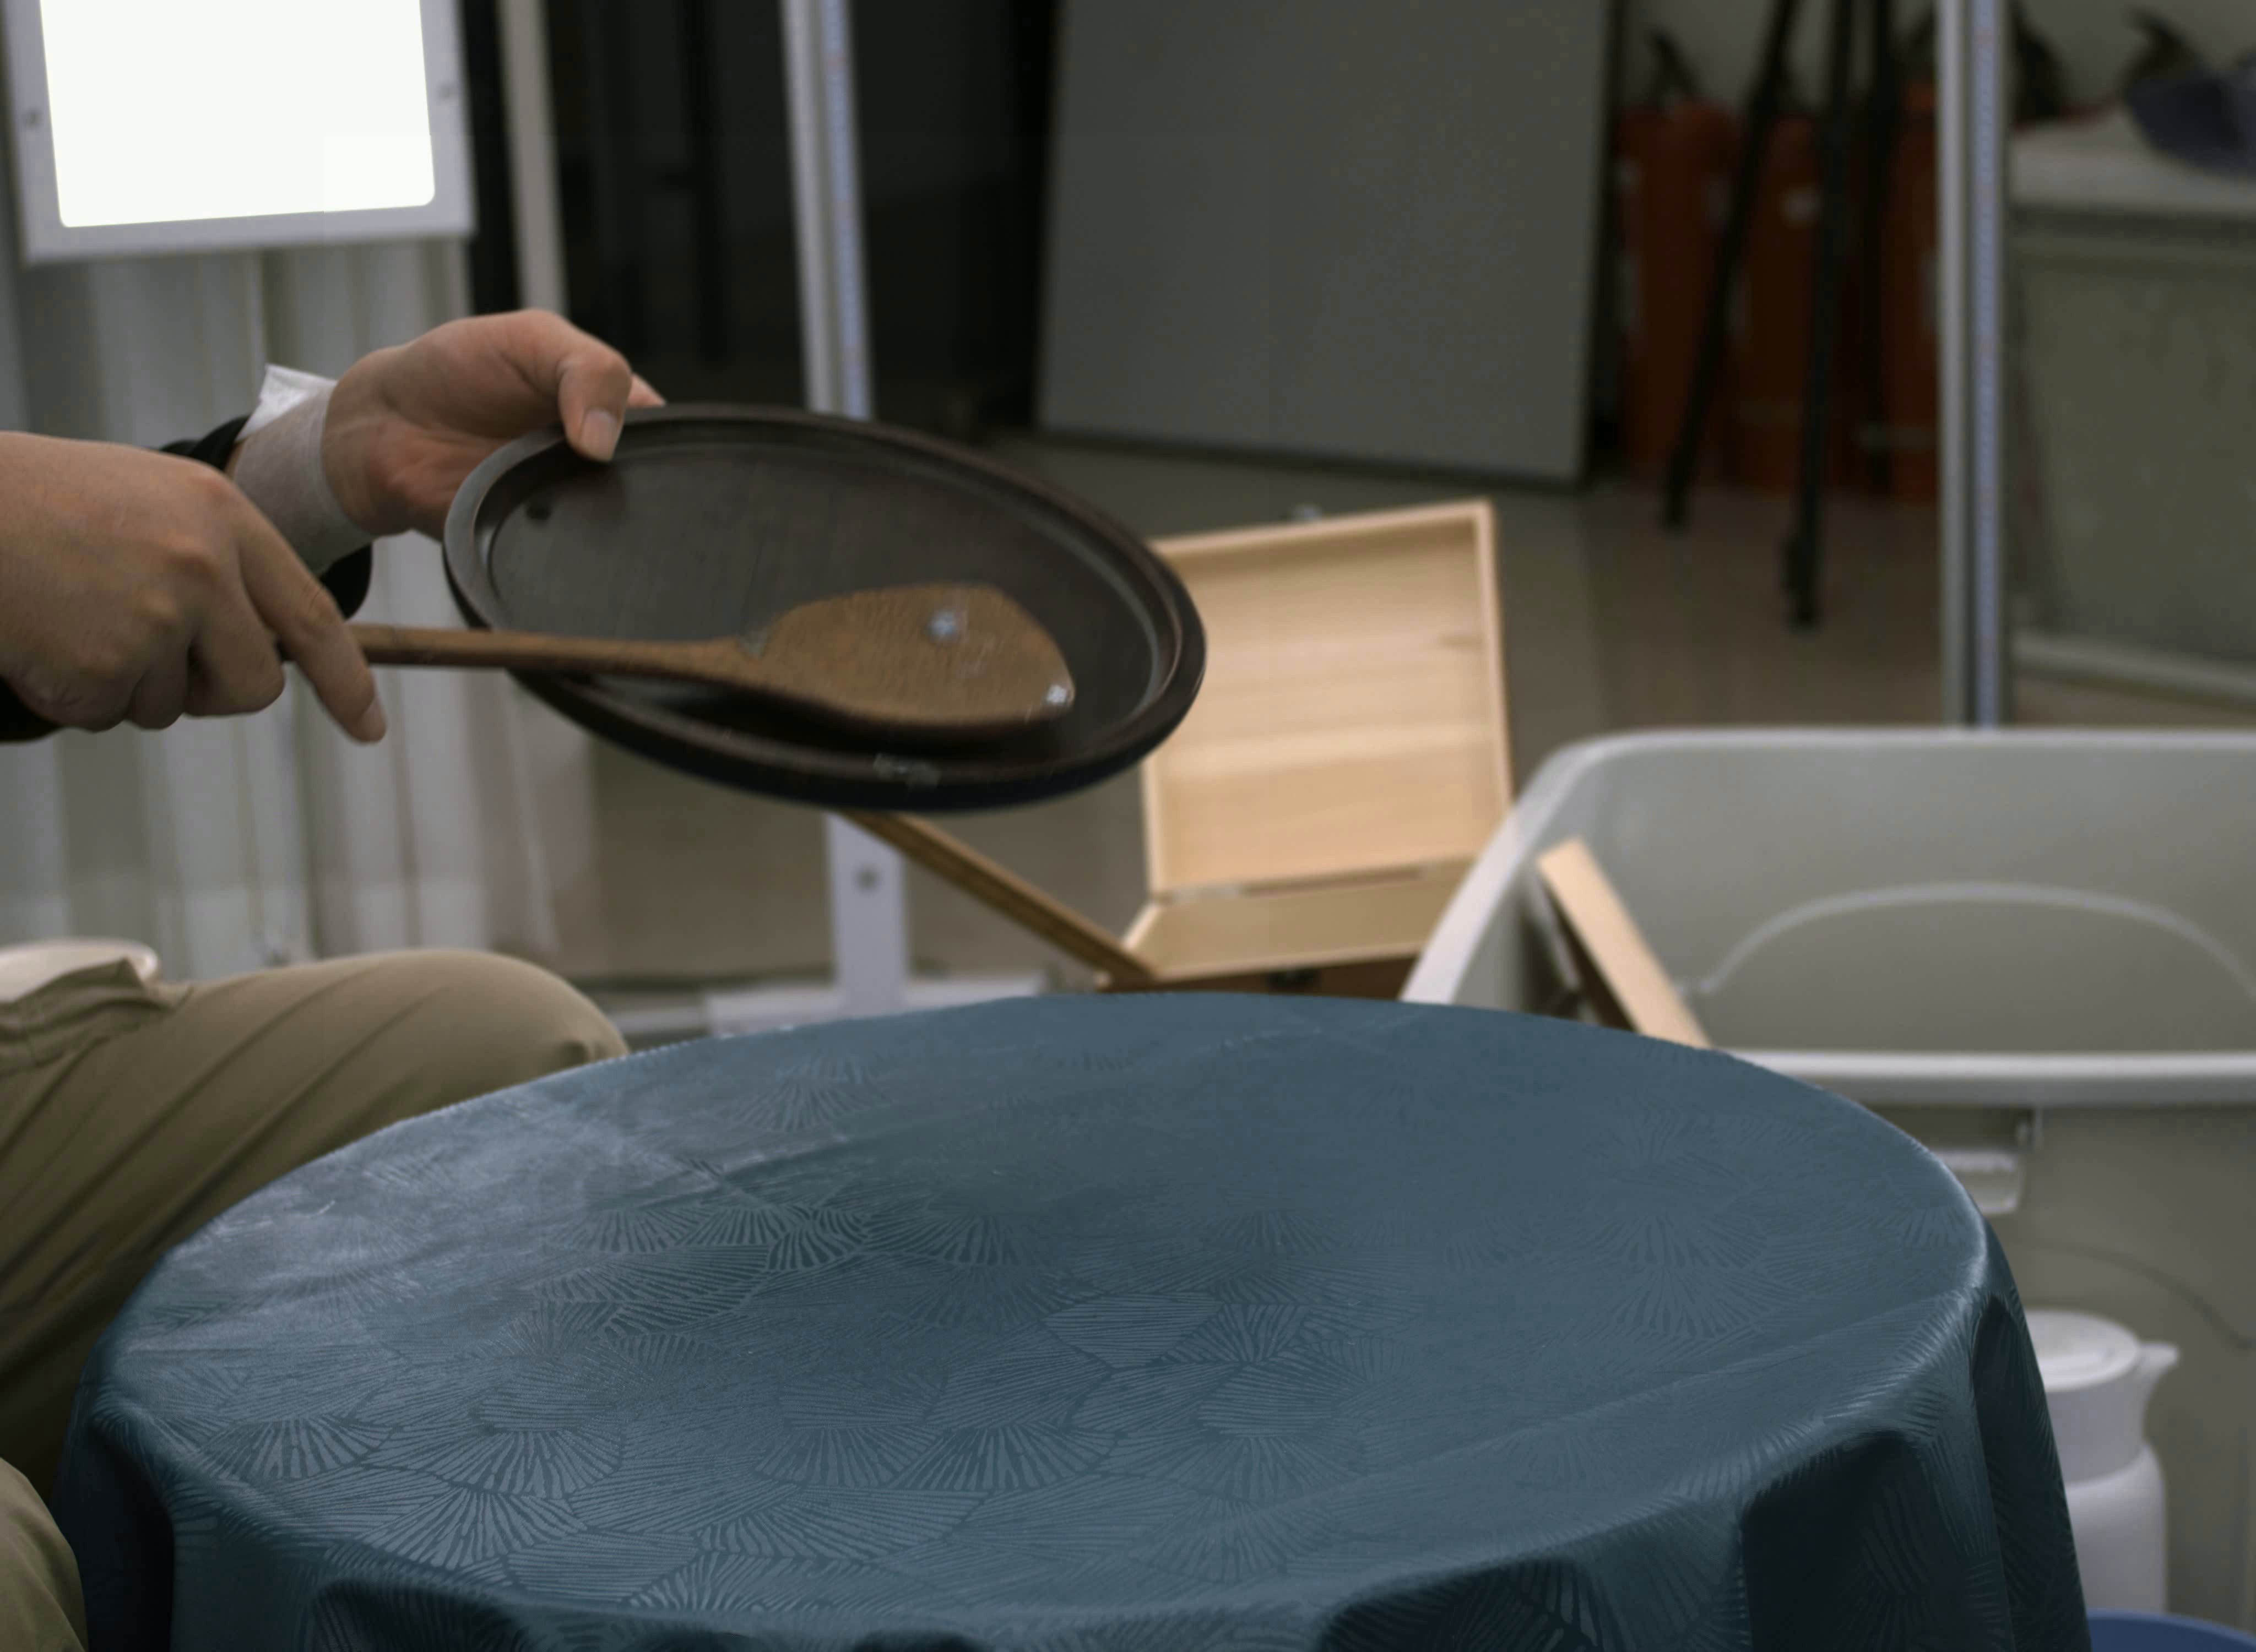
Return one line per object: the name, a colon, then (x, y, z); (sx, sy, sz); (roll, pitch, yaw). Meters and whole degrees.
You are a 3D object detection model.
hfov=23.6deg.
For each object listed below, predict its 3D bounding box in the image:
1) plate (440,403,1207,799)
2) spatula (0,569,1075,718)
plate: (-0.098, -0.075, 1.747); (0.251, 0.029, 0.256); (9, 28, -6)
spatula: (-0.200, -0.059, 1.648); (0.378, 0.016, 0.097); (1, 27, -19)
